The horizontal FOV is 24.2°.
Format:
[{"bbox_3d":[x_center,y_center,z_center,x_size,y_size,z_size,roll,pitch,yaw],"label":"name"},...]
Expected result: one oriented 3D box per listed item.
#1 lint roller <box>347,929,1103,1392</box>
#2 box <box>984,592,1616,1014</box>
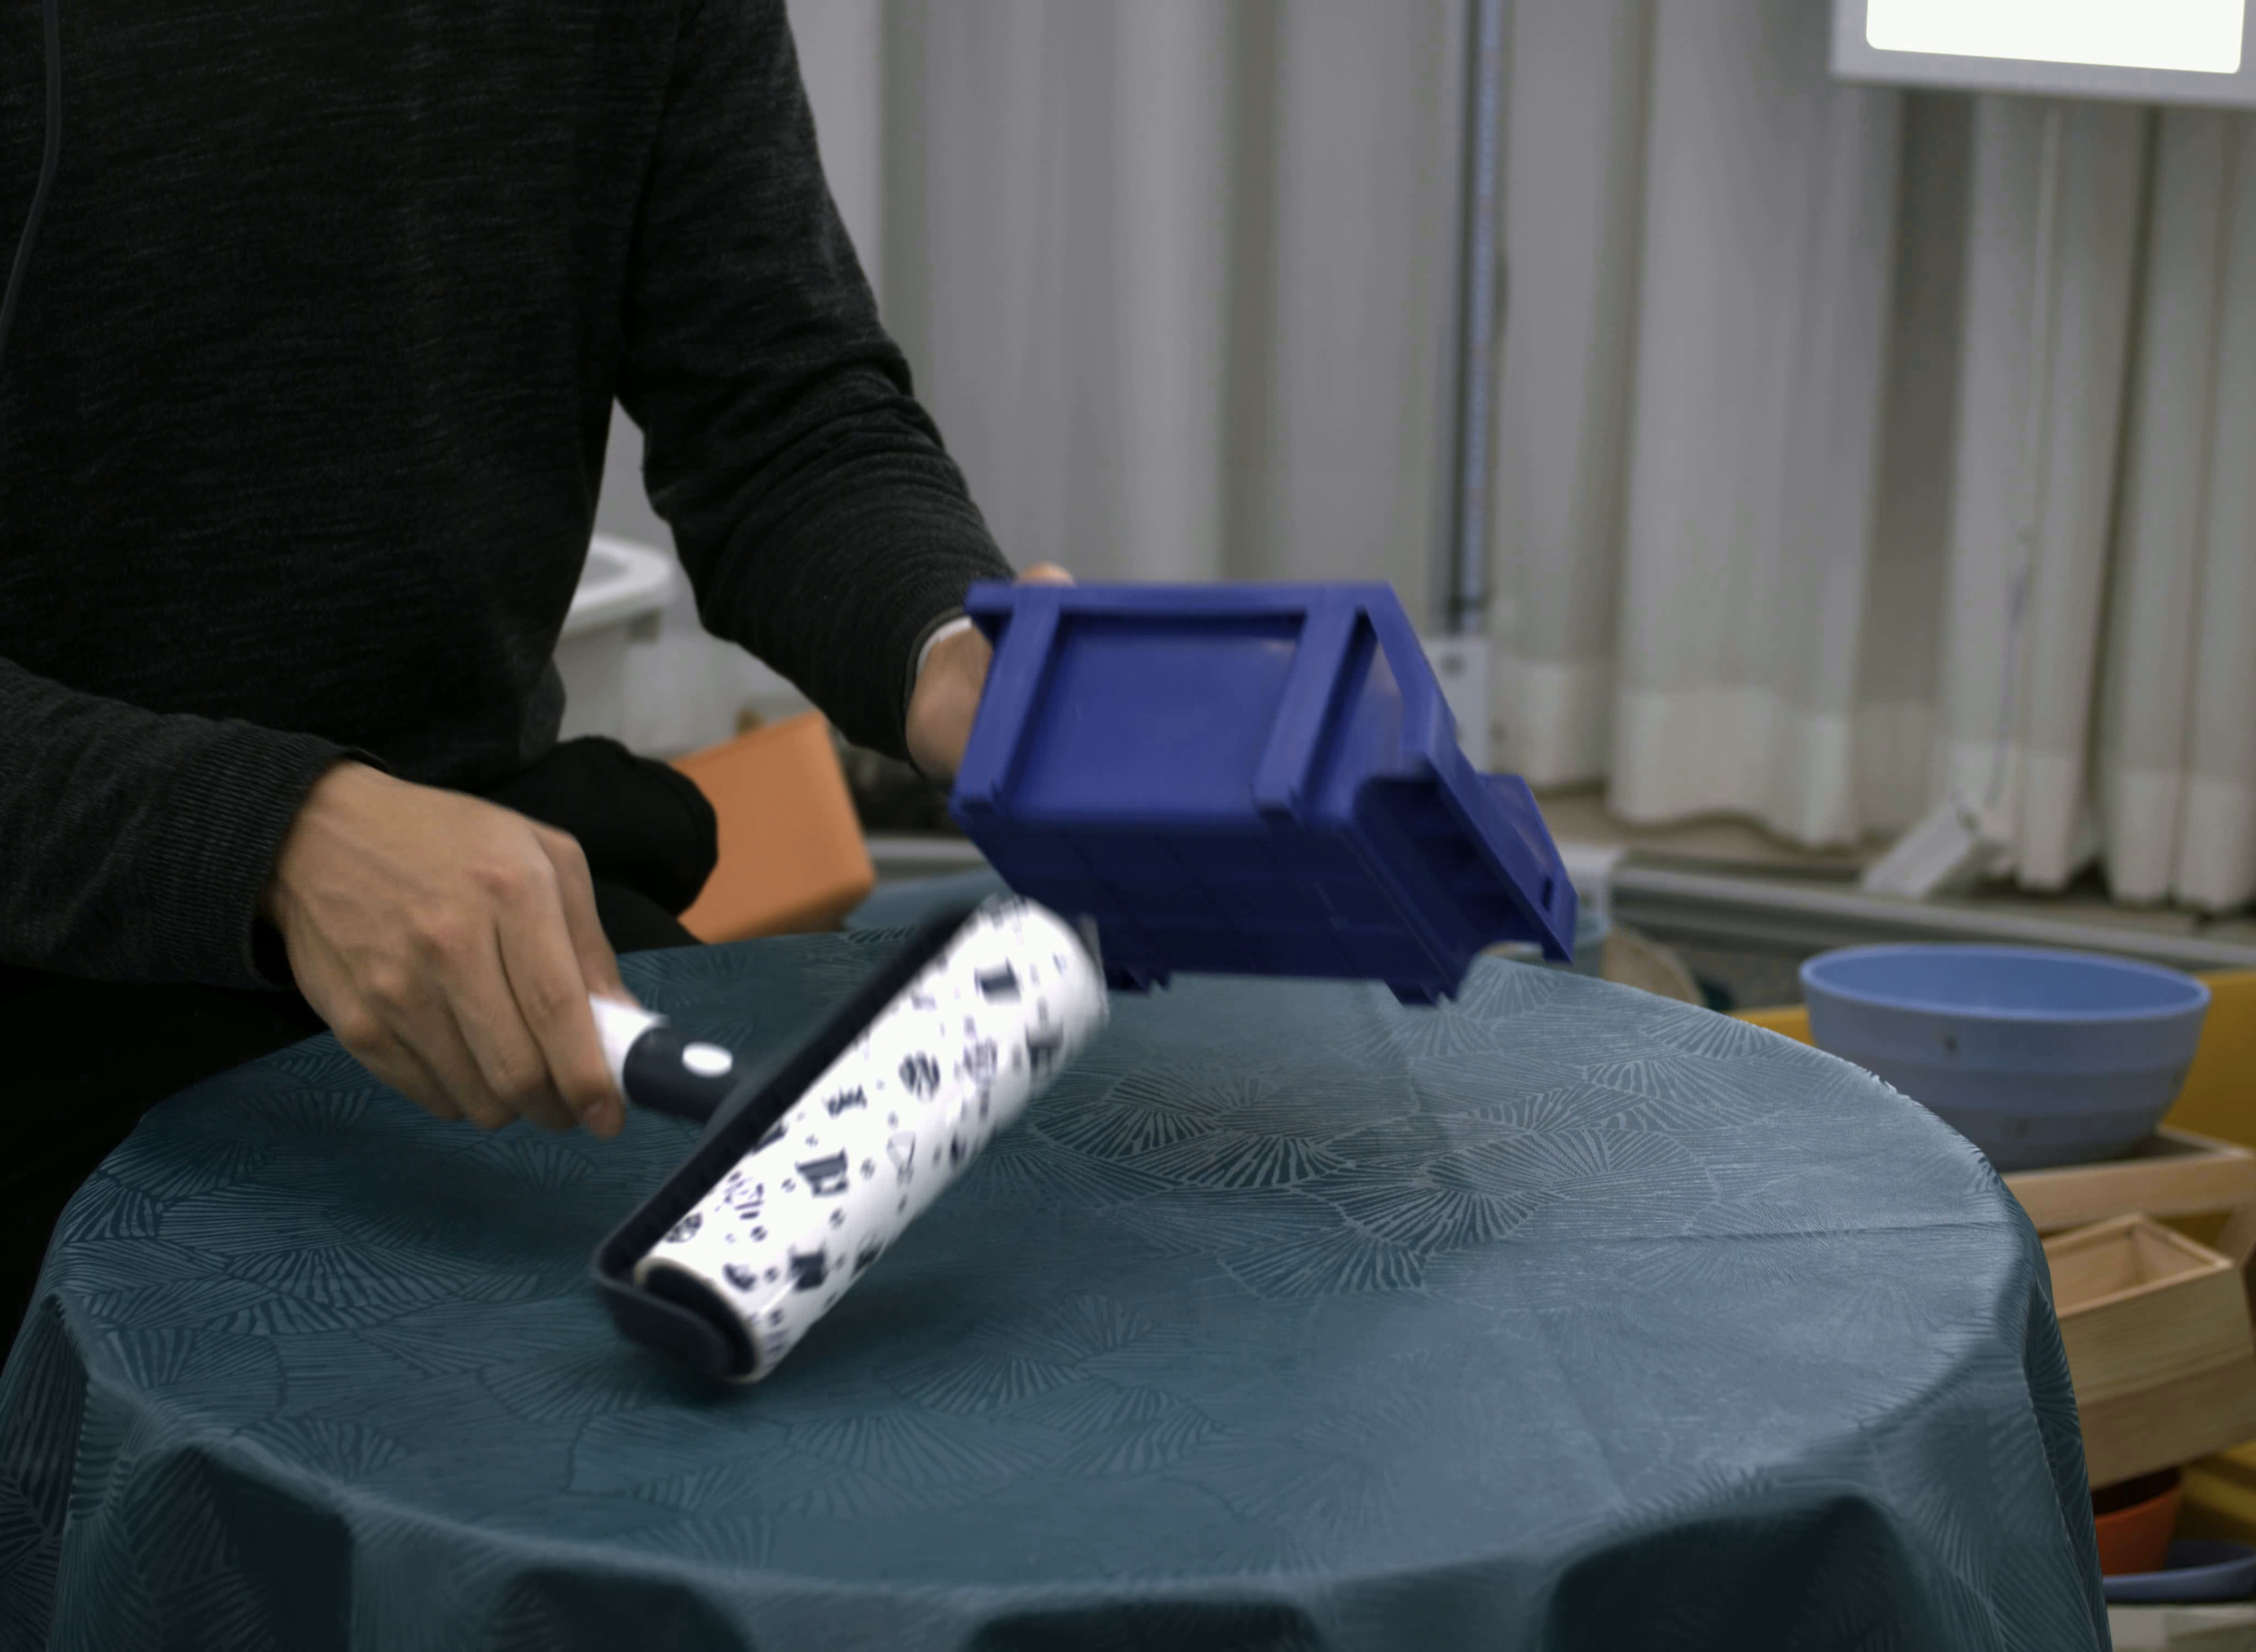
[{"bbox_3d":[-0.149,0.072,1.550,0.244,0.051,0.176,17,46,37],"label":"lint roller"},{"bbox_3d":[0.053,-0.004,1.632,0.177,0.081,0.126,-2,-31,29],"label":"box"}]
